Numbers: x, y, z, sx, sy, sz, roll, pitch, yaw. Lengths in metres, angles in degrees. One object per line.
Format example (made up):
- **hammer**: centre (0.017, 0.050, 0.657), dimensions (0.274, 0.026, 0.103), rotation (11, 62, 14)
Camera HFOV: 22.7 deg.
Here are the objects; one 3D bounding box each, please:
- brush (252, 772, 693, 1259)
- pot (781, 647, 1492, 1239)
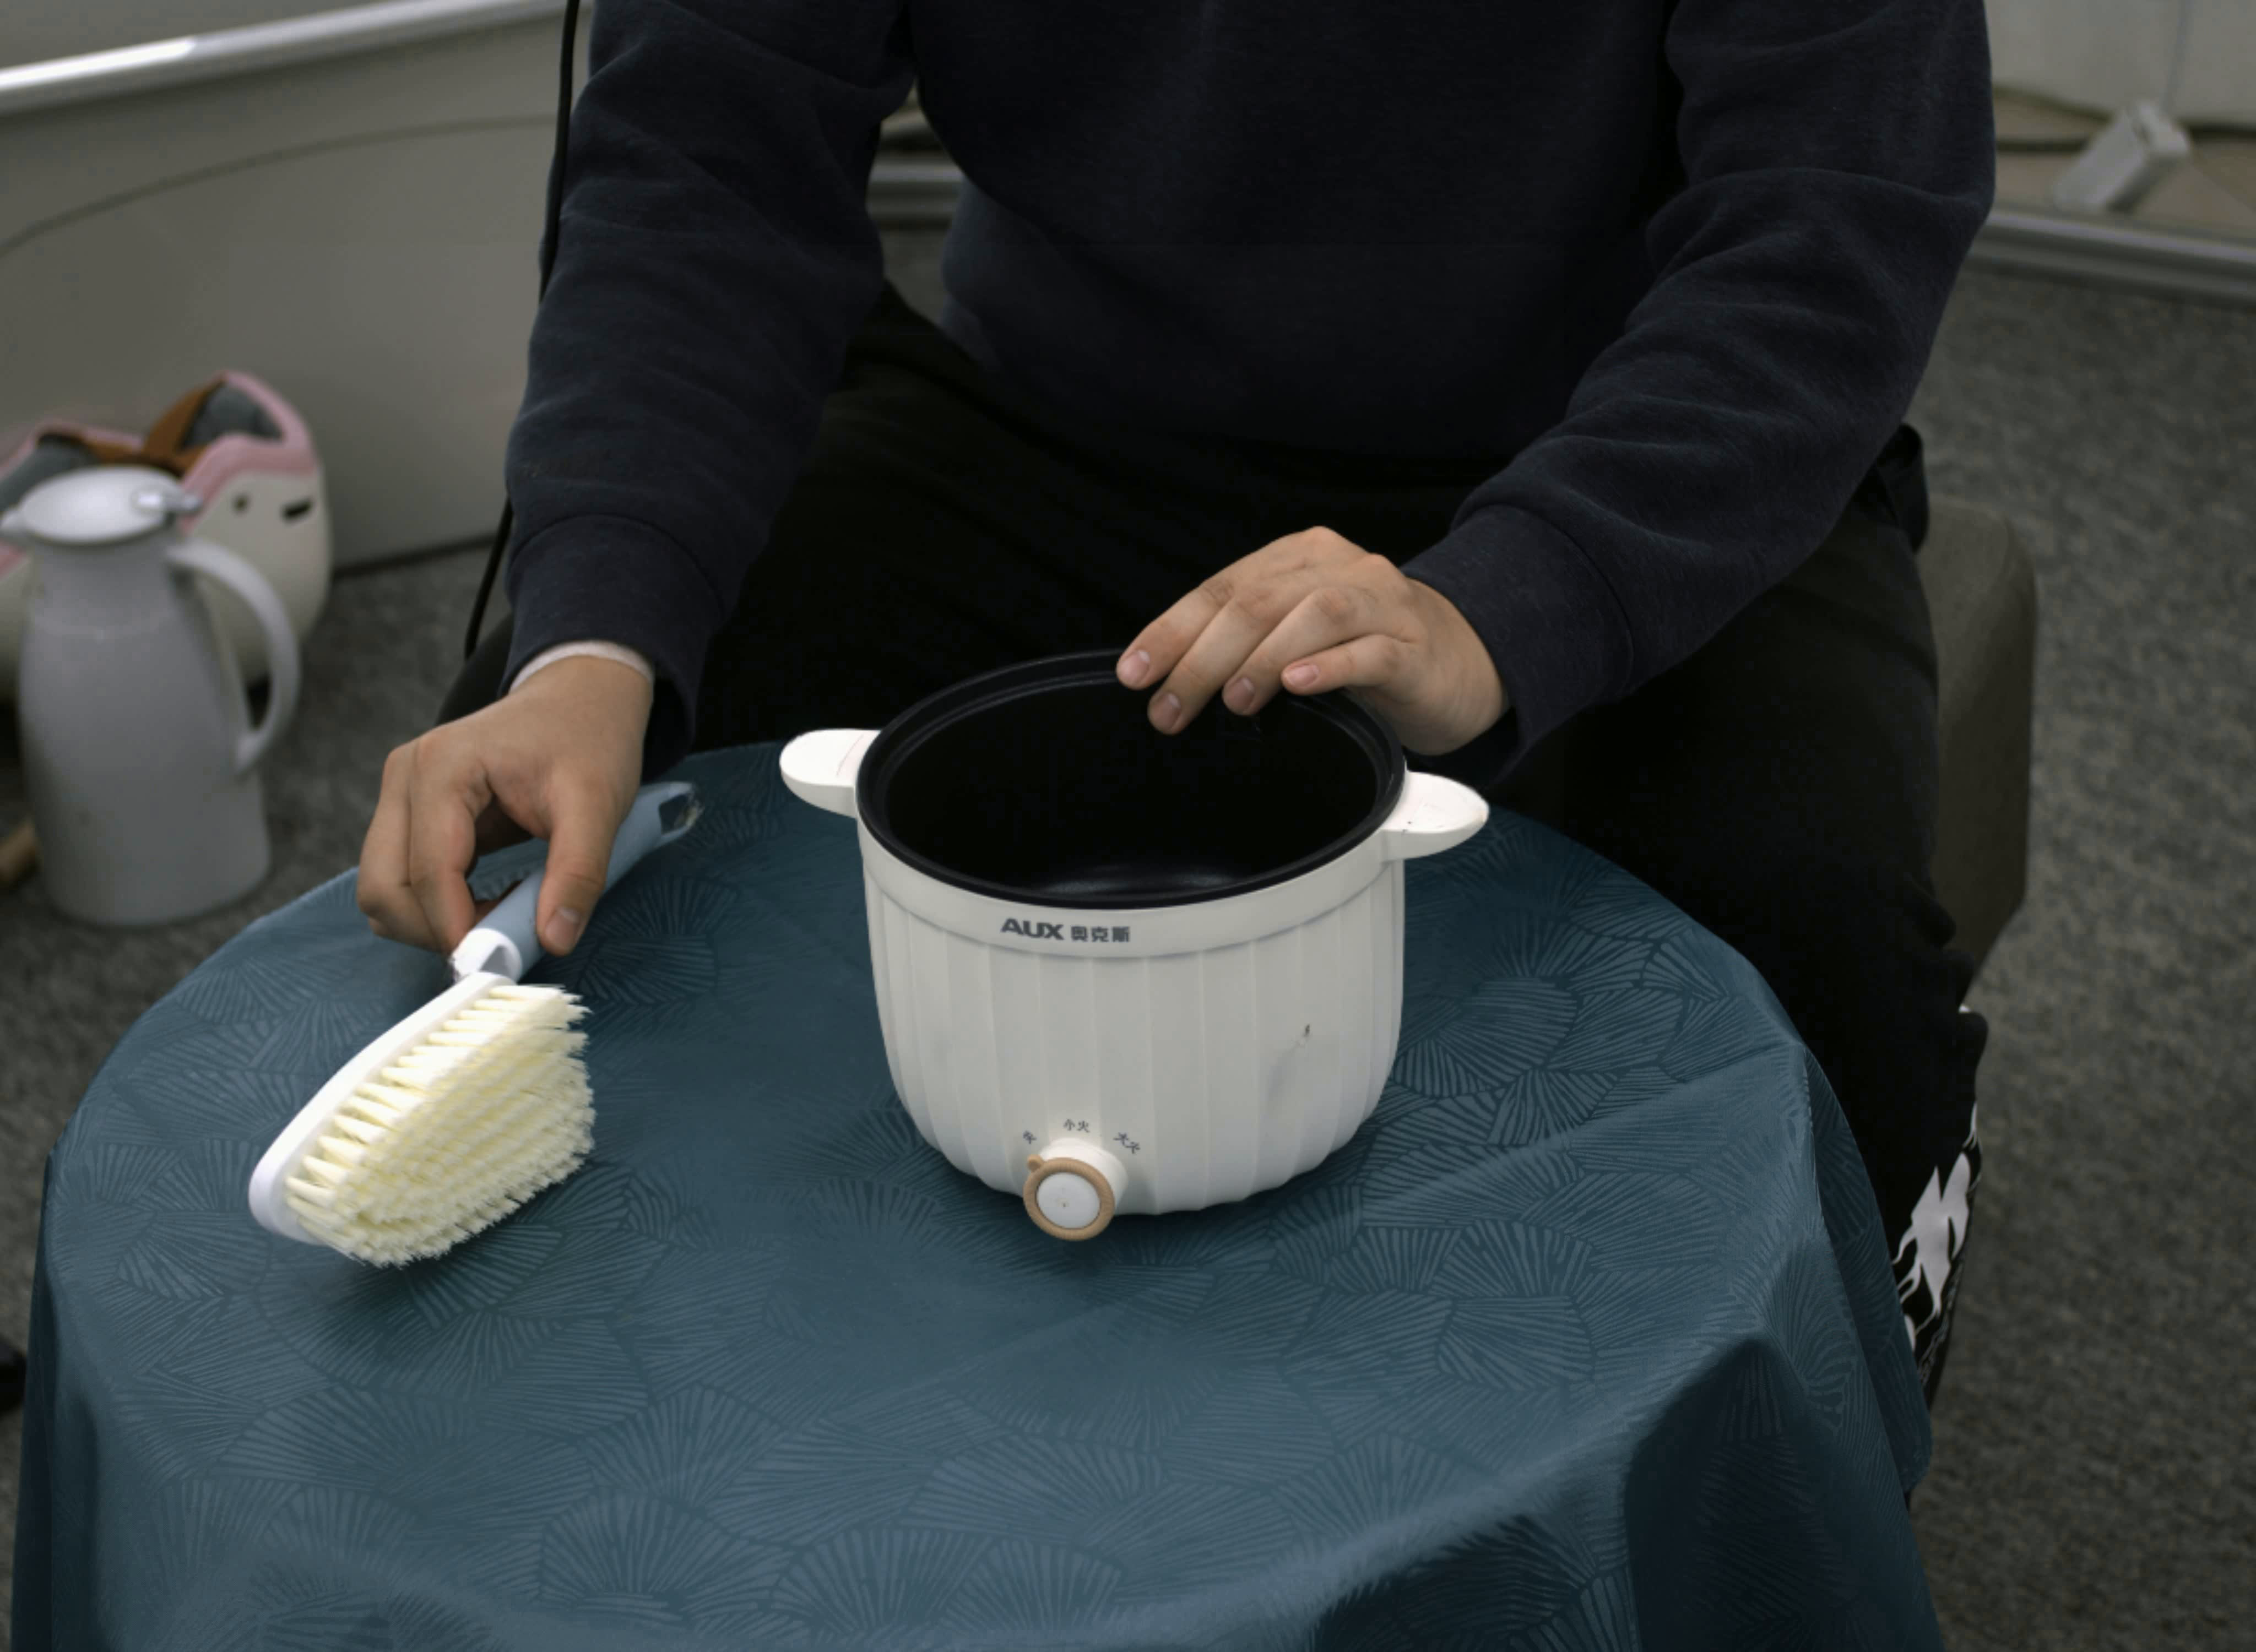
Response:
- **brush**: centre (-0.193, 0.055, 1.933), dimensions (0.084, 0.082, 0.331), rotation (39, 32, 0)
- **pot**: centre (0.003, 0.042, 1.870), dimensions (0.239, 0.141, 0.193), rotation (3, 24, 13)
